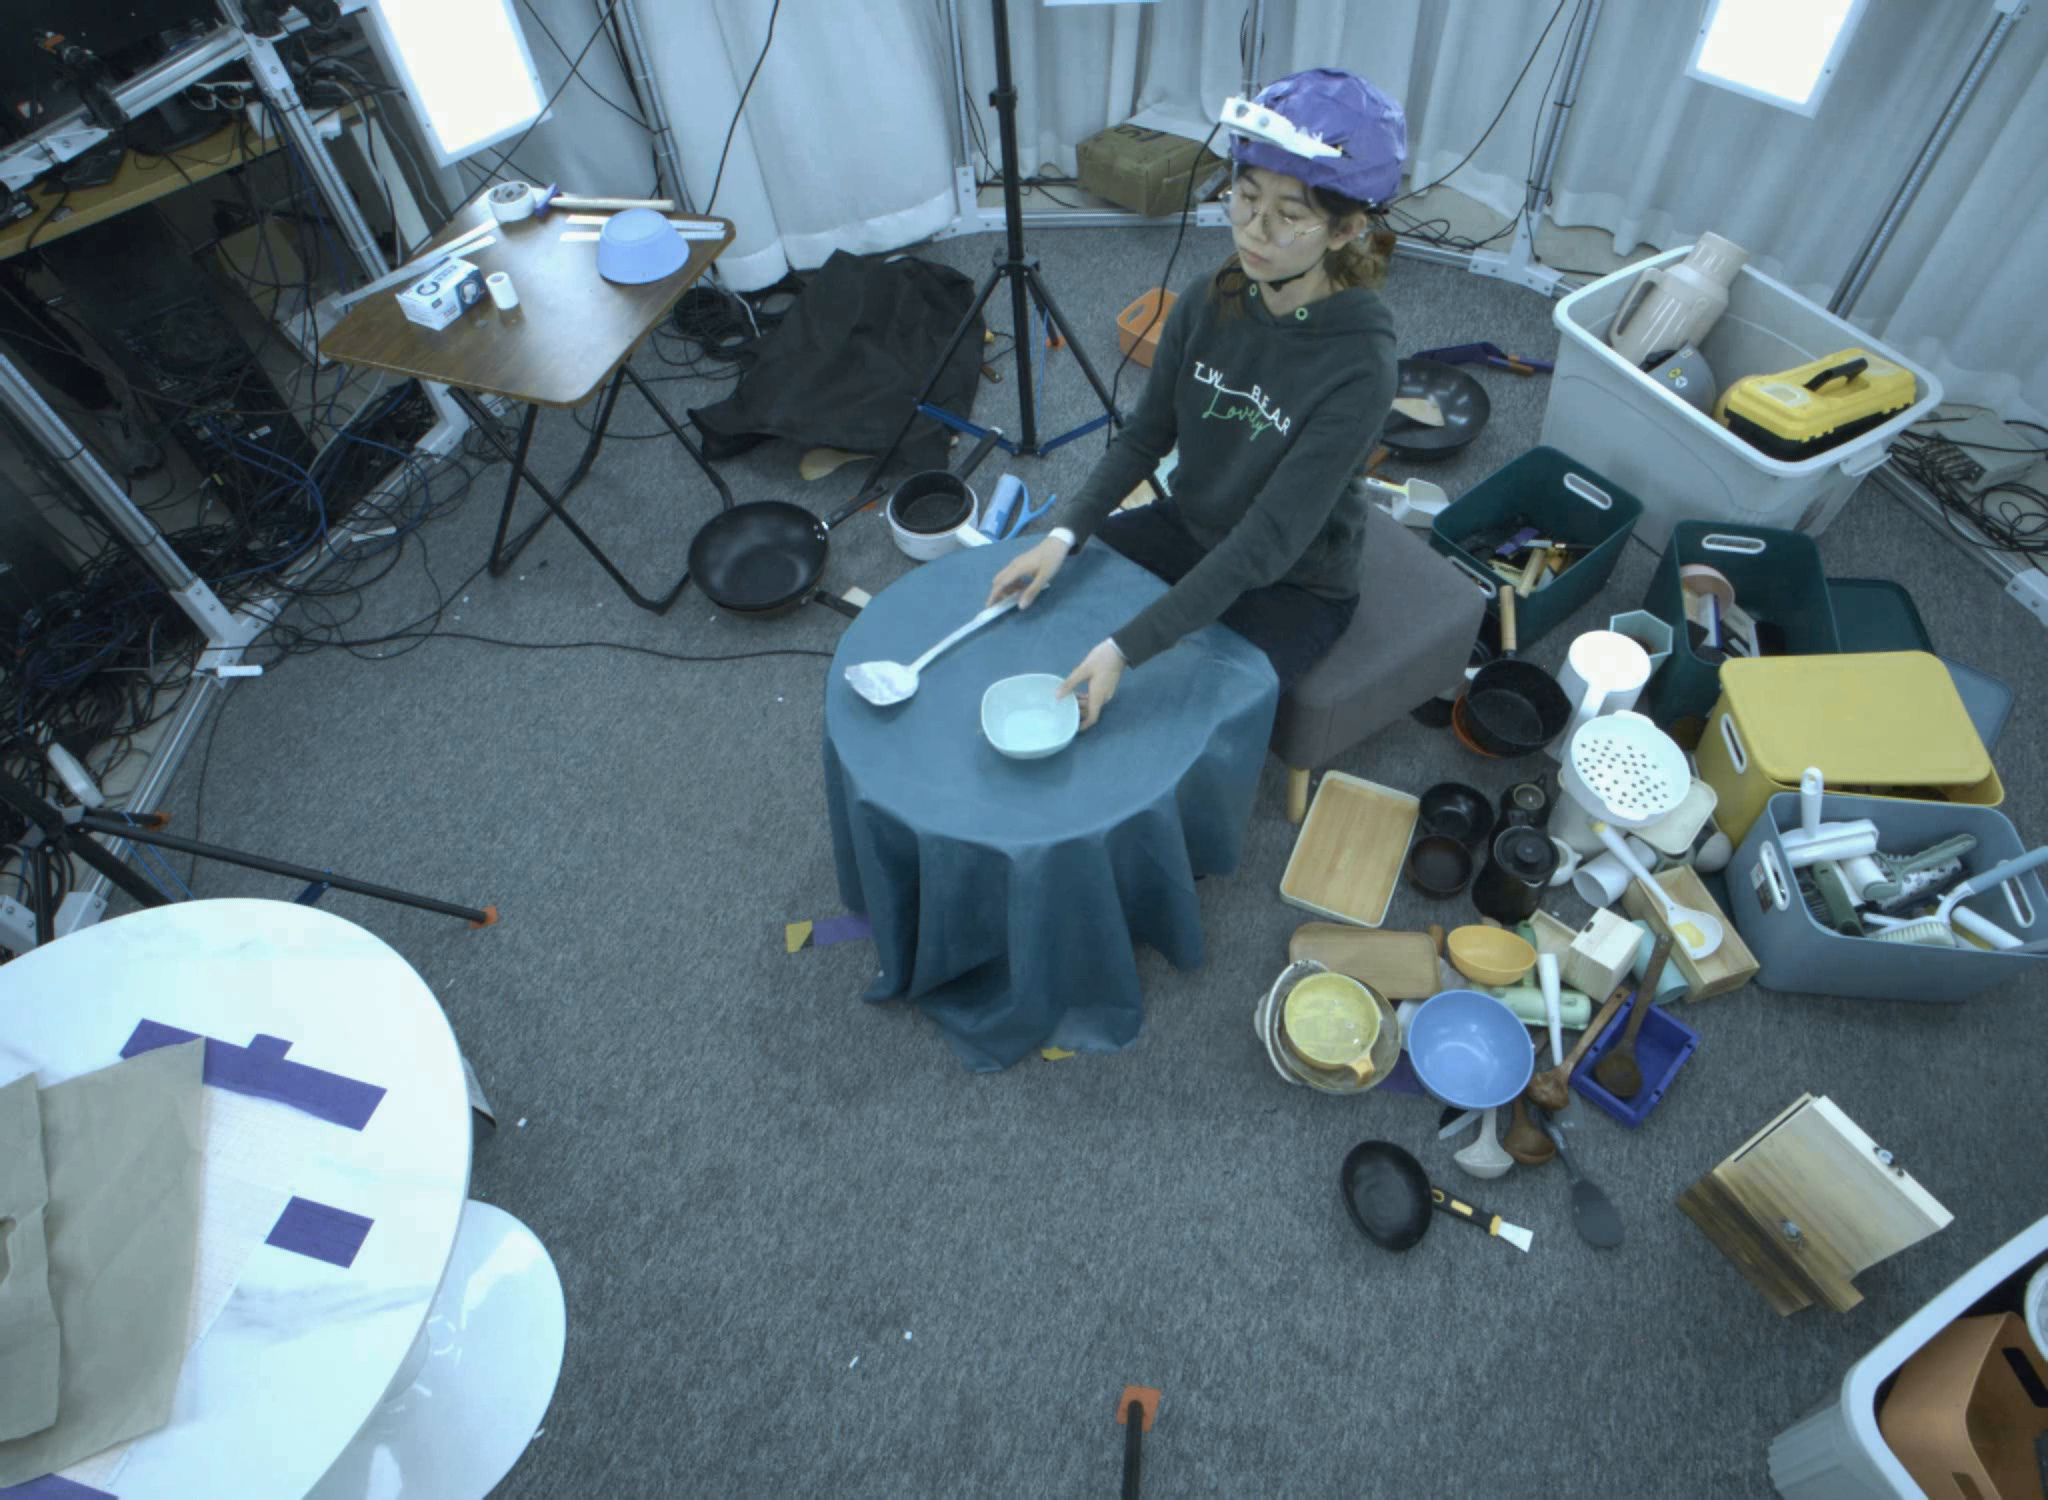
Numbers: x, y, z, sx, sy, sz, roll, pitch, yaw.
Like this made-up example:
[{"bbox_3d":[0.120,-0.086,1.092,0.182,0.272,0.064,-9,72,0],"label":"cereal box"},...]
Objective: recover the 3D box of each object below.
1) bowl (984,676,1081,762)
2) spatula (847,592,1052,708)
[{"bbox_3d":[0.014,-0.034,1.787,0.151,0.059,0.150,-1,57,2],"label":"bowl"},{"bbox_3d":[-0.105,-0.169,1.896,0.367,0.045,0.097,-35,59,-20],"label":"spatula"}]
